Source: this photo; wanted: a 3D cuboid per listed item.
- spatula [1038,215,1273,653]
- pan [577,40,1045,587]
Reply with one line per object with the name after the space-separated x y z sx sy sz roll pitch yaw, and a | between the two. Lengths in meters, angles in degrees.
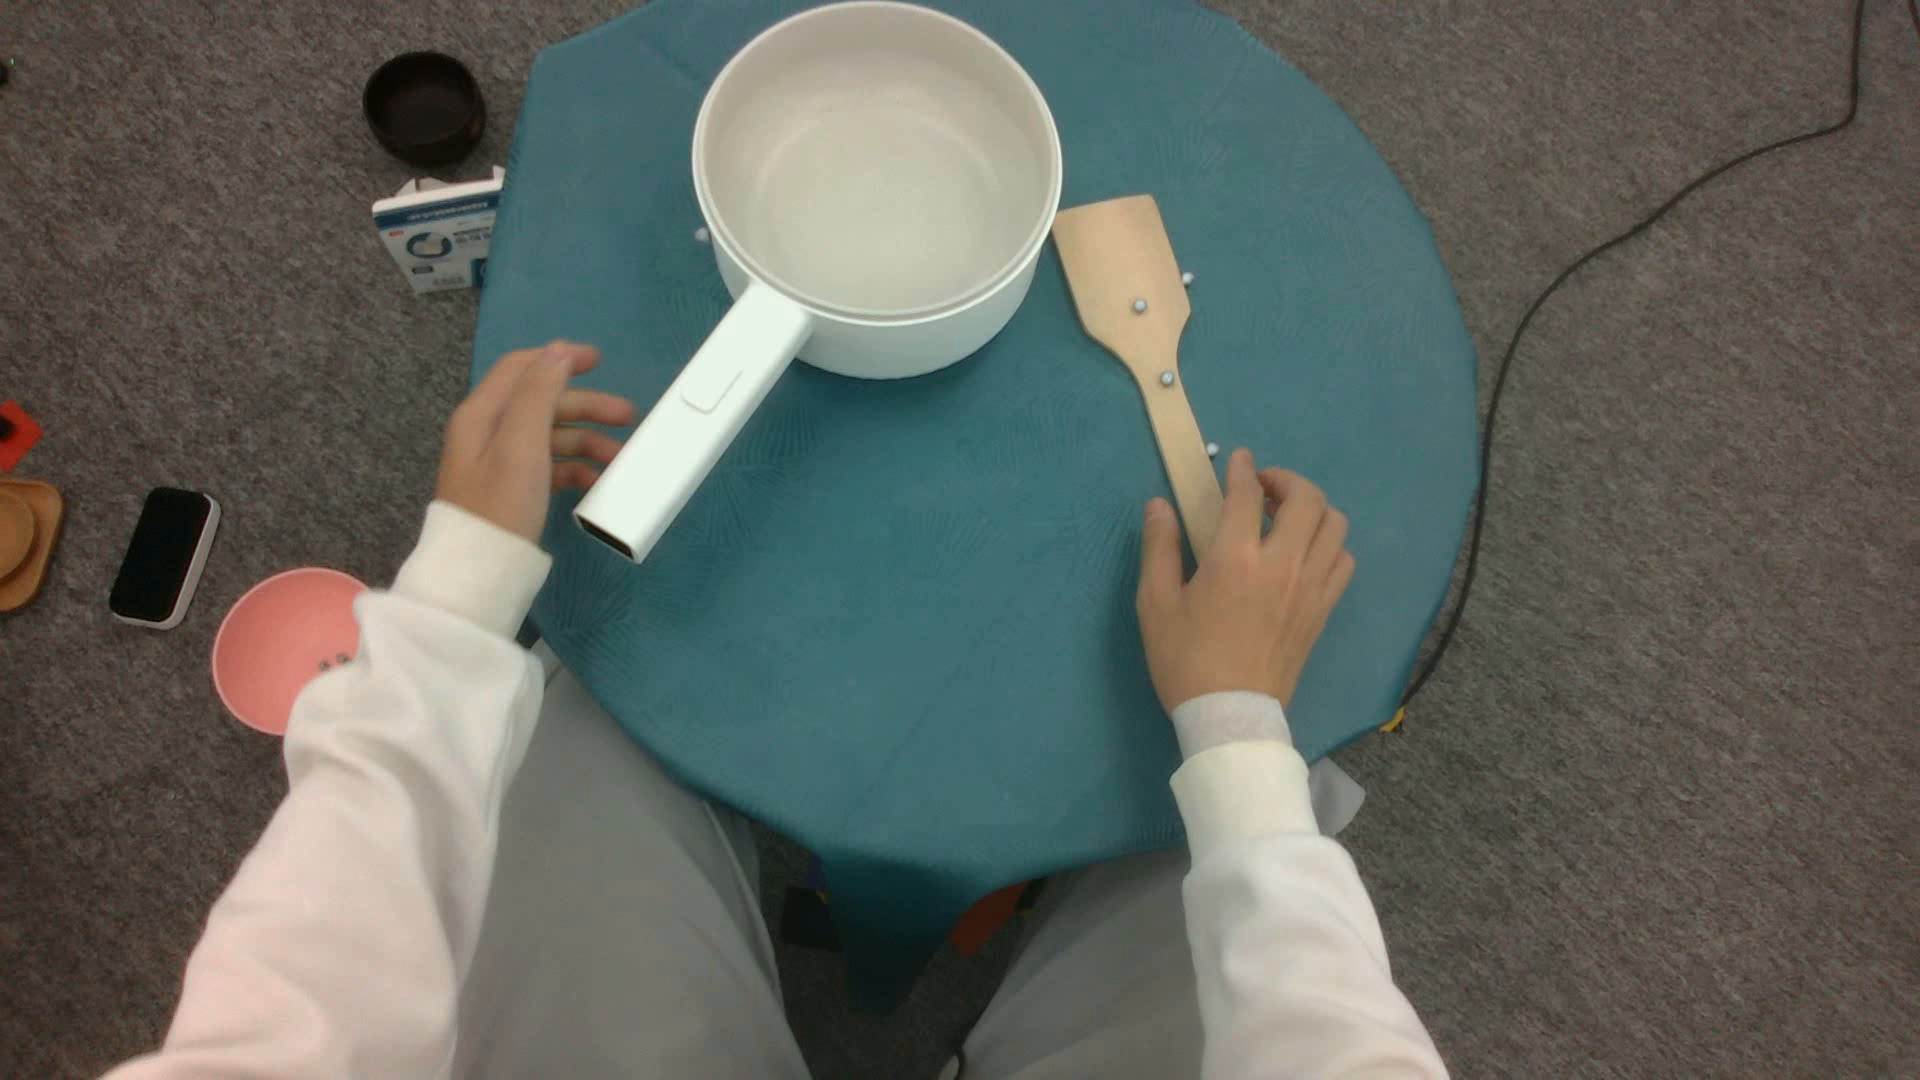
0.125 -0.068 0.829 0.072 0.010 0.293 -15 71 -11 | spatula
-0.092 -0.119 0.788 0.201 0.102 0.356 29 71 6 | pan
